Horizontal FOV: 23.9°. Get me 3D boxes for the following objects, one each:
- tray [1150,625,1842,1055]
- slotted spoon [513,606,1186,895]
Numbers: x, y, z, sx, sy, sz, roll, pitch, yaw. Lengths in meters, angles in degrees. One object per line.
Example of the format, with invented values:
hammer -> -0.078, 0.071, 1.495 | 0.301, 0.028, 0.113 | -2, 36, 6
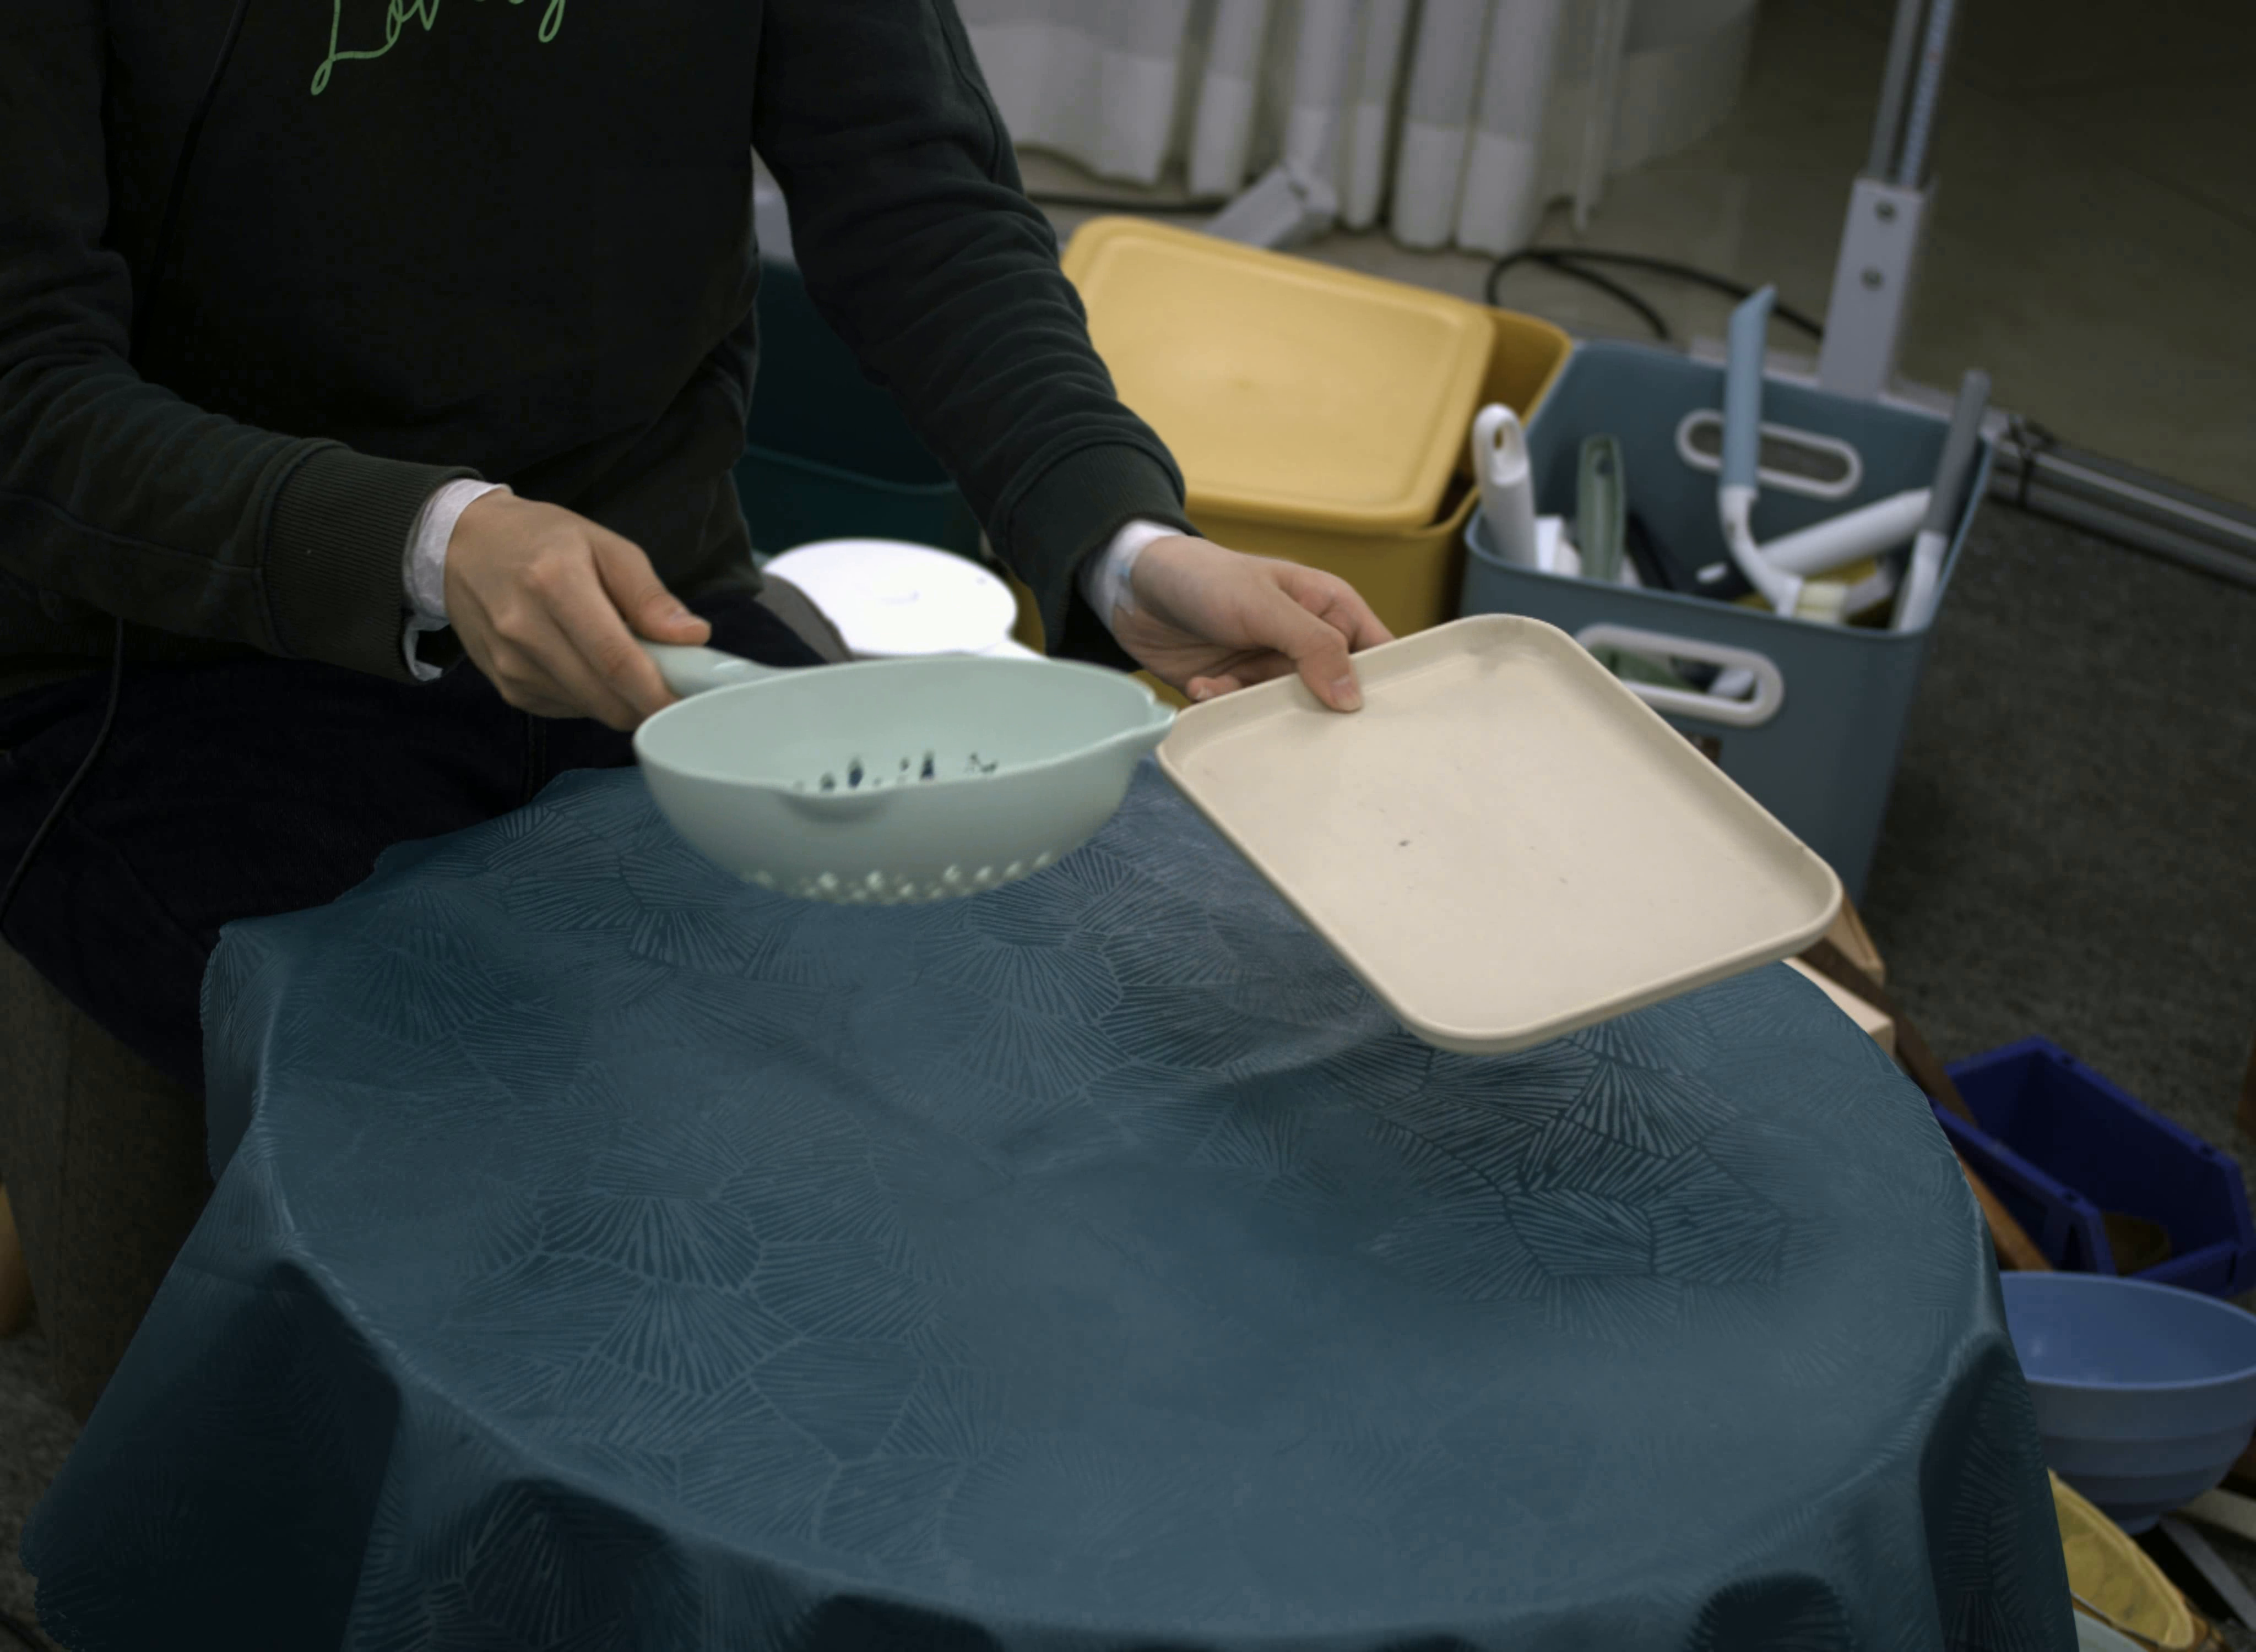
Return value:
tray -> 0.126, 0.003, 1.873 | 0.170, 0.017, 0.242 | -18, 34, -20
slotted spoon -> -0.125, -0.042, 1.803 | 0.168, 0.075, 0.362 | -12, 23, -31
